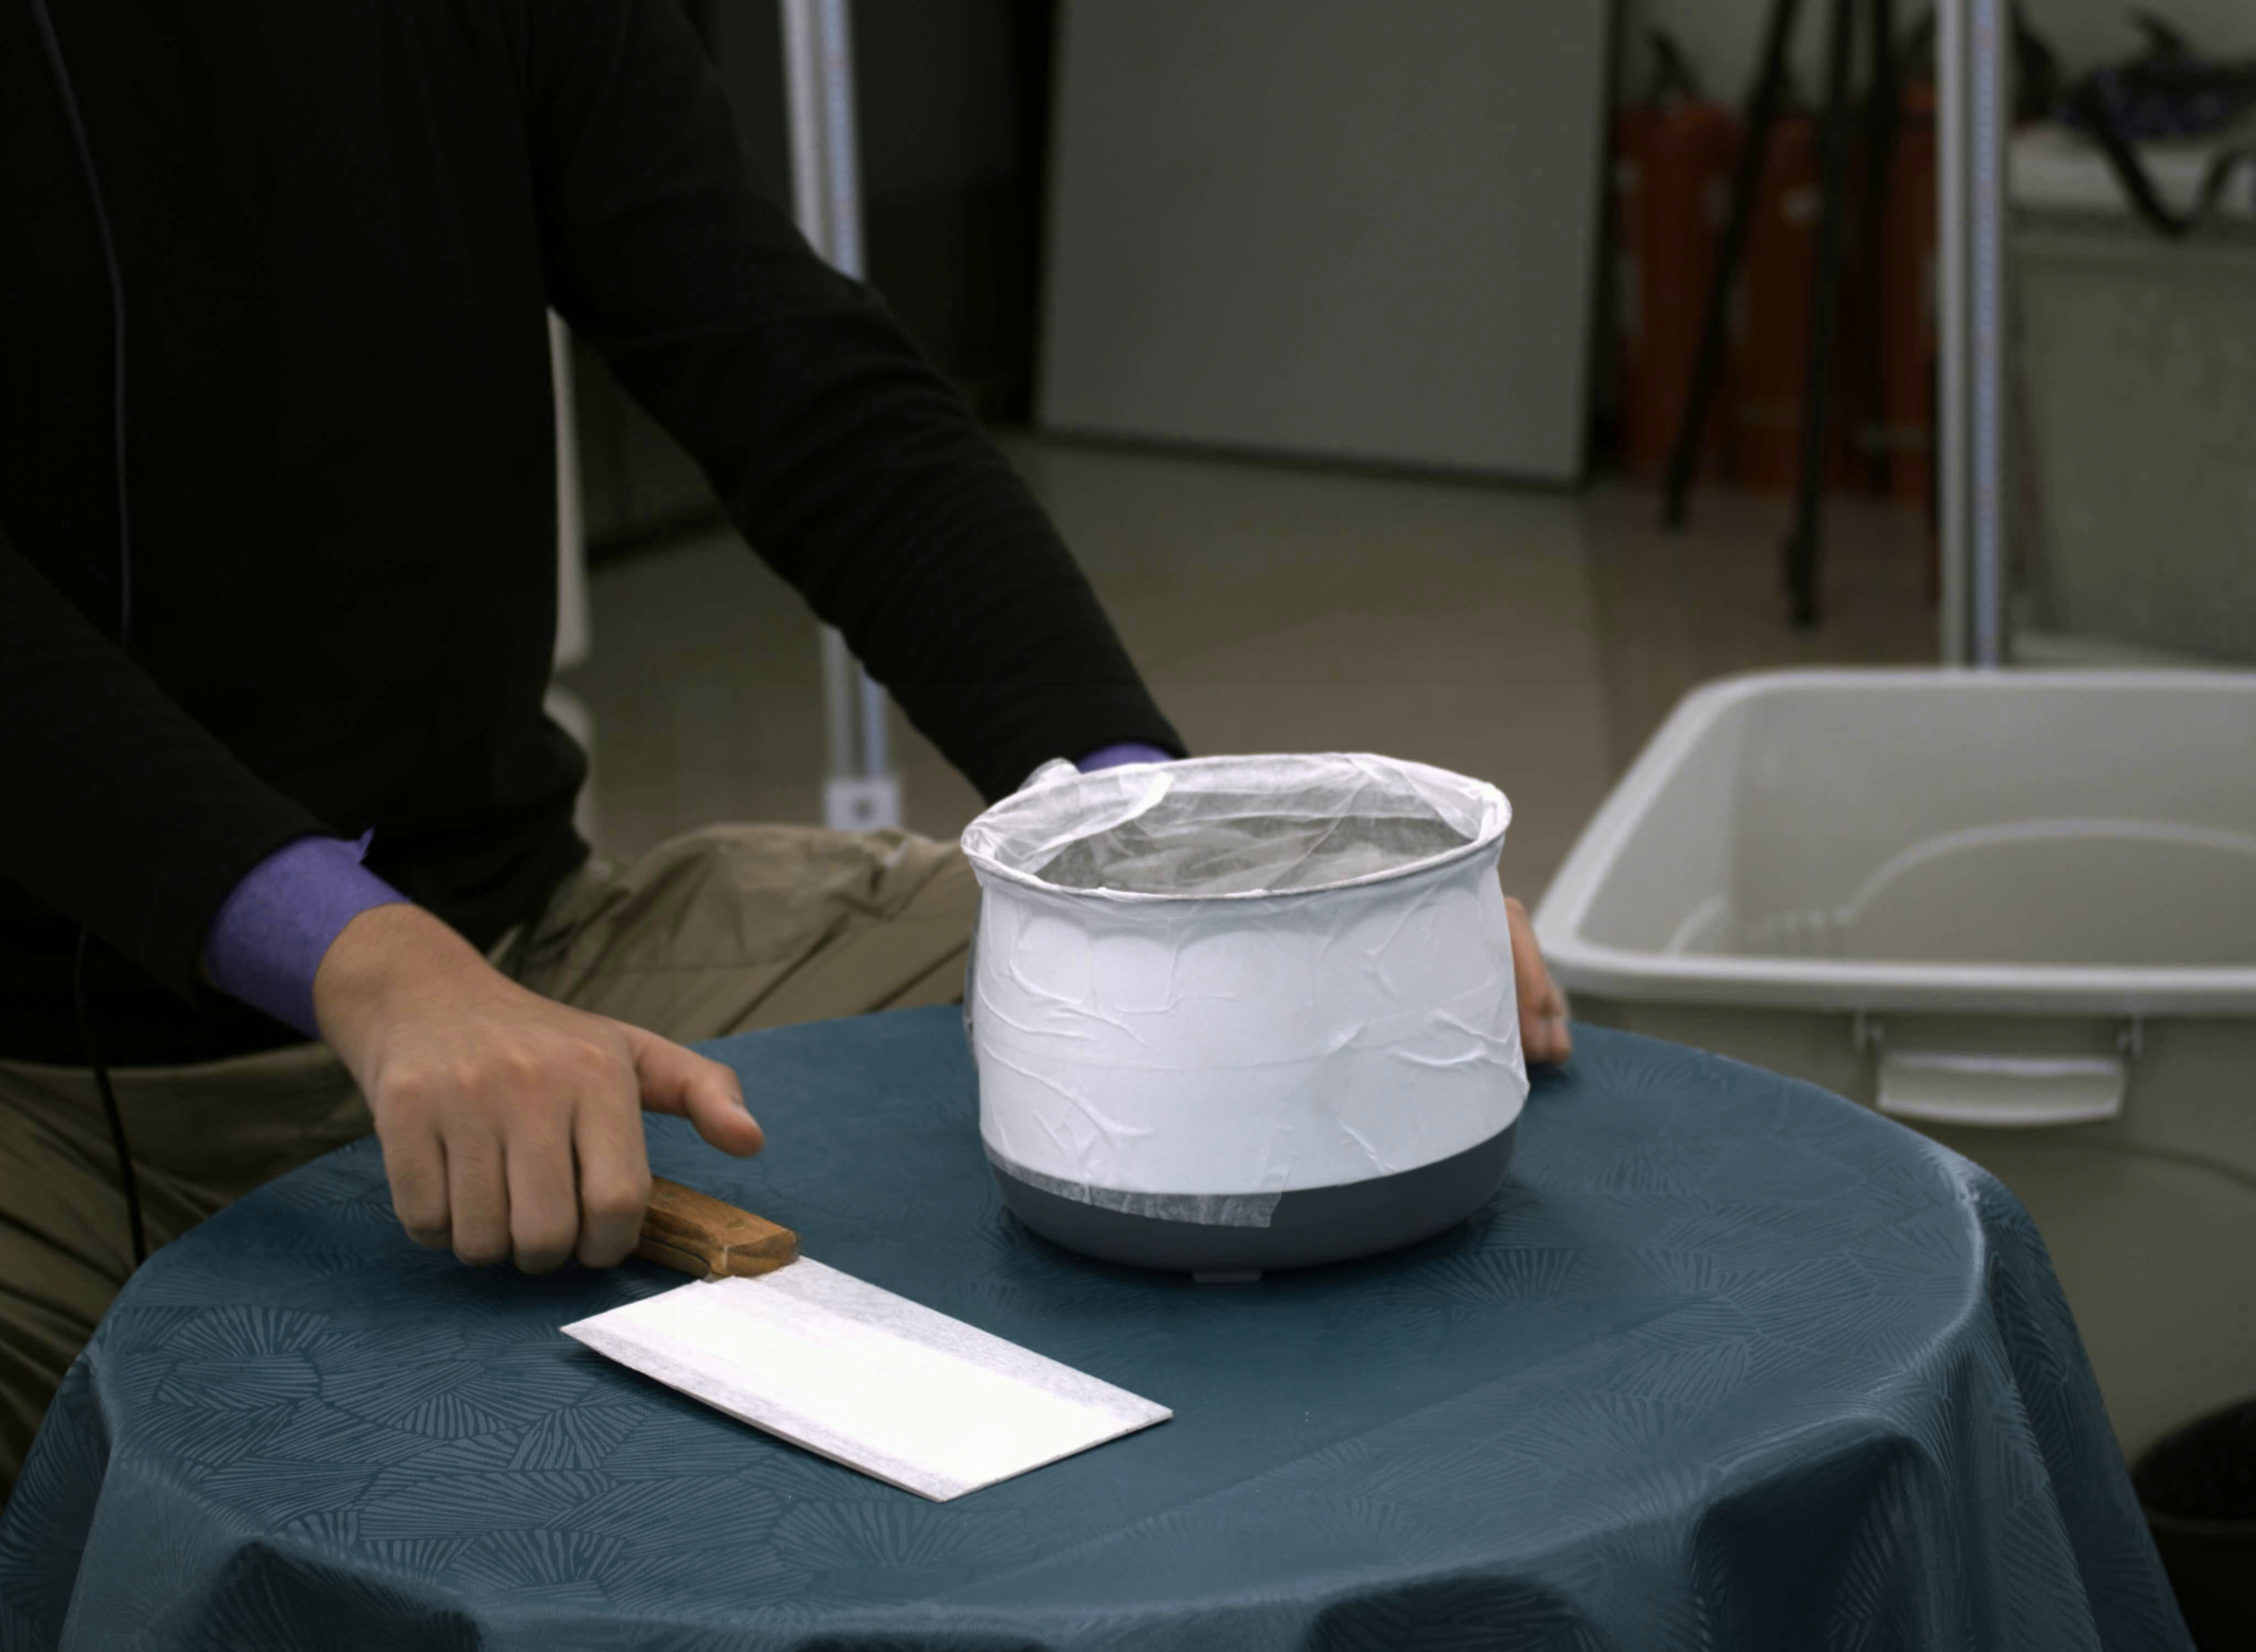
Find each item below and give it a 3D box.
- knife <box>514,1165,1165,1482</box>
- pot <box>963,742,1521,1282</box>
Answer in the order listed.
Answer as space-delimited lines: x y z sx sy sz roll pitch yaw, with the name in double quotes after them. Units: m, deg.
-0.114 0.153 1.653 0.091 0.021 0.309 -15 19 -36 "knife"
0.021 0.053 1.748 0.175 0.138 0.236 -13 17 -34 "pot"
